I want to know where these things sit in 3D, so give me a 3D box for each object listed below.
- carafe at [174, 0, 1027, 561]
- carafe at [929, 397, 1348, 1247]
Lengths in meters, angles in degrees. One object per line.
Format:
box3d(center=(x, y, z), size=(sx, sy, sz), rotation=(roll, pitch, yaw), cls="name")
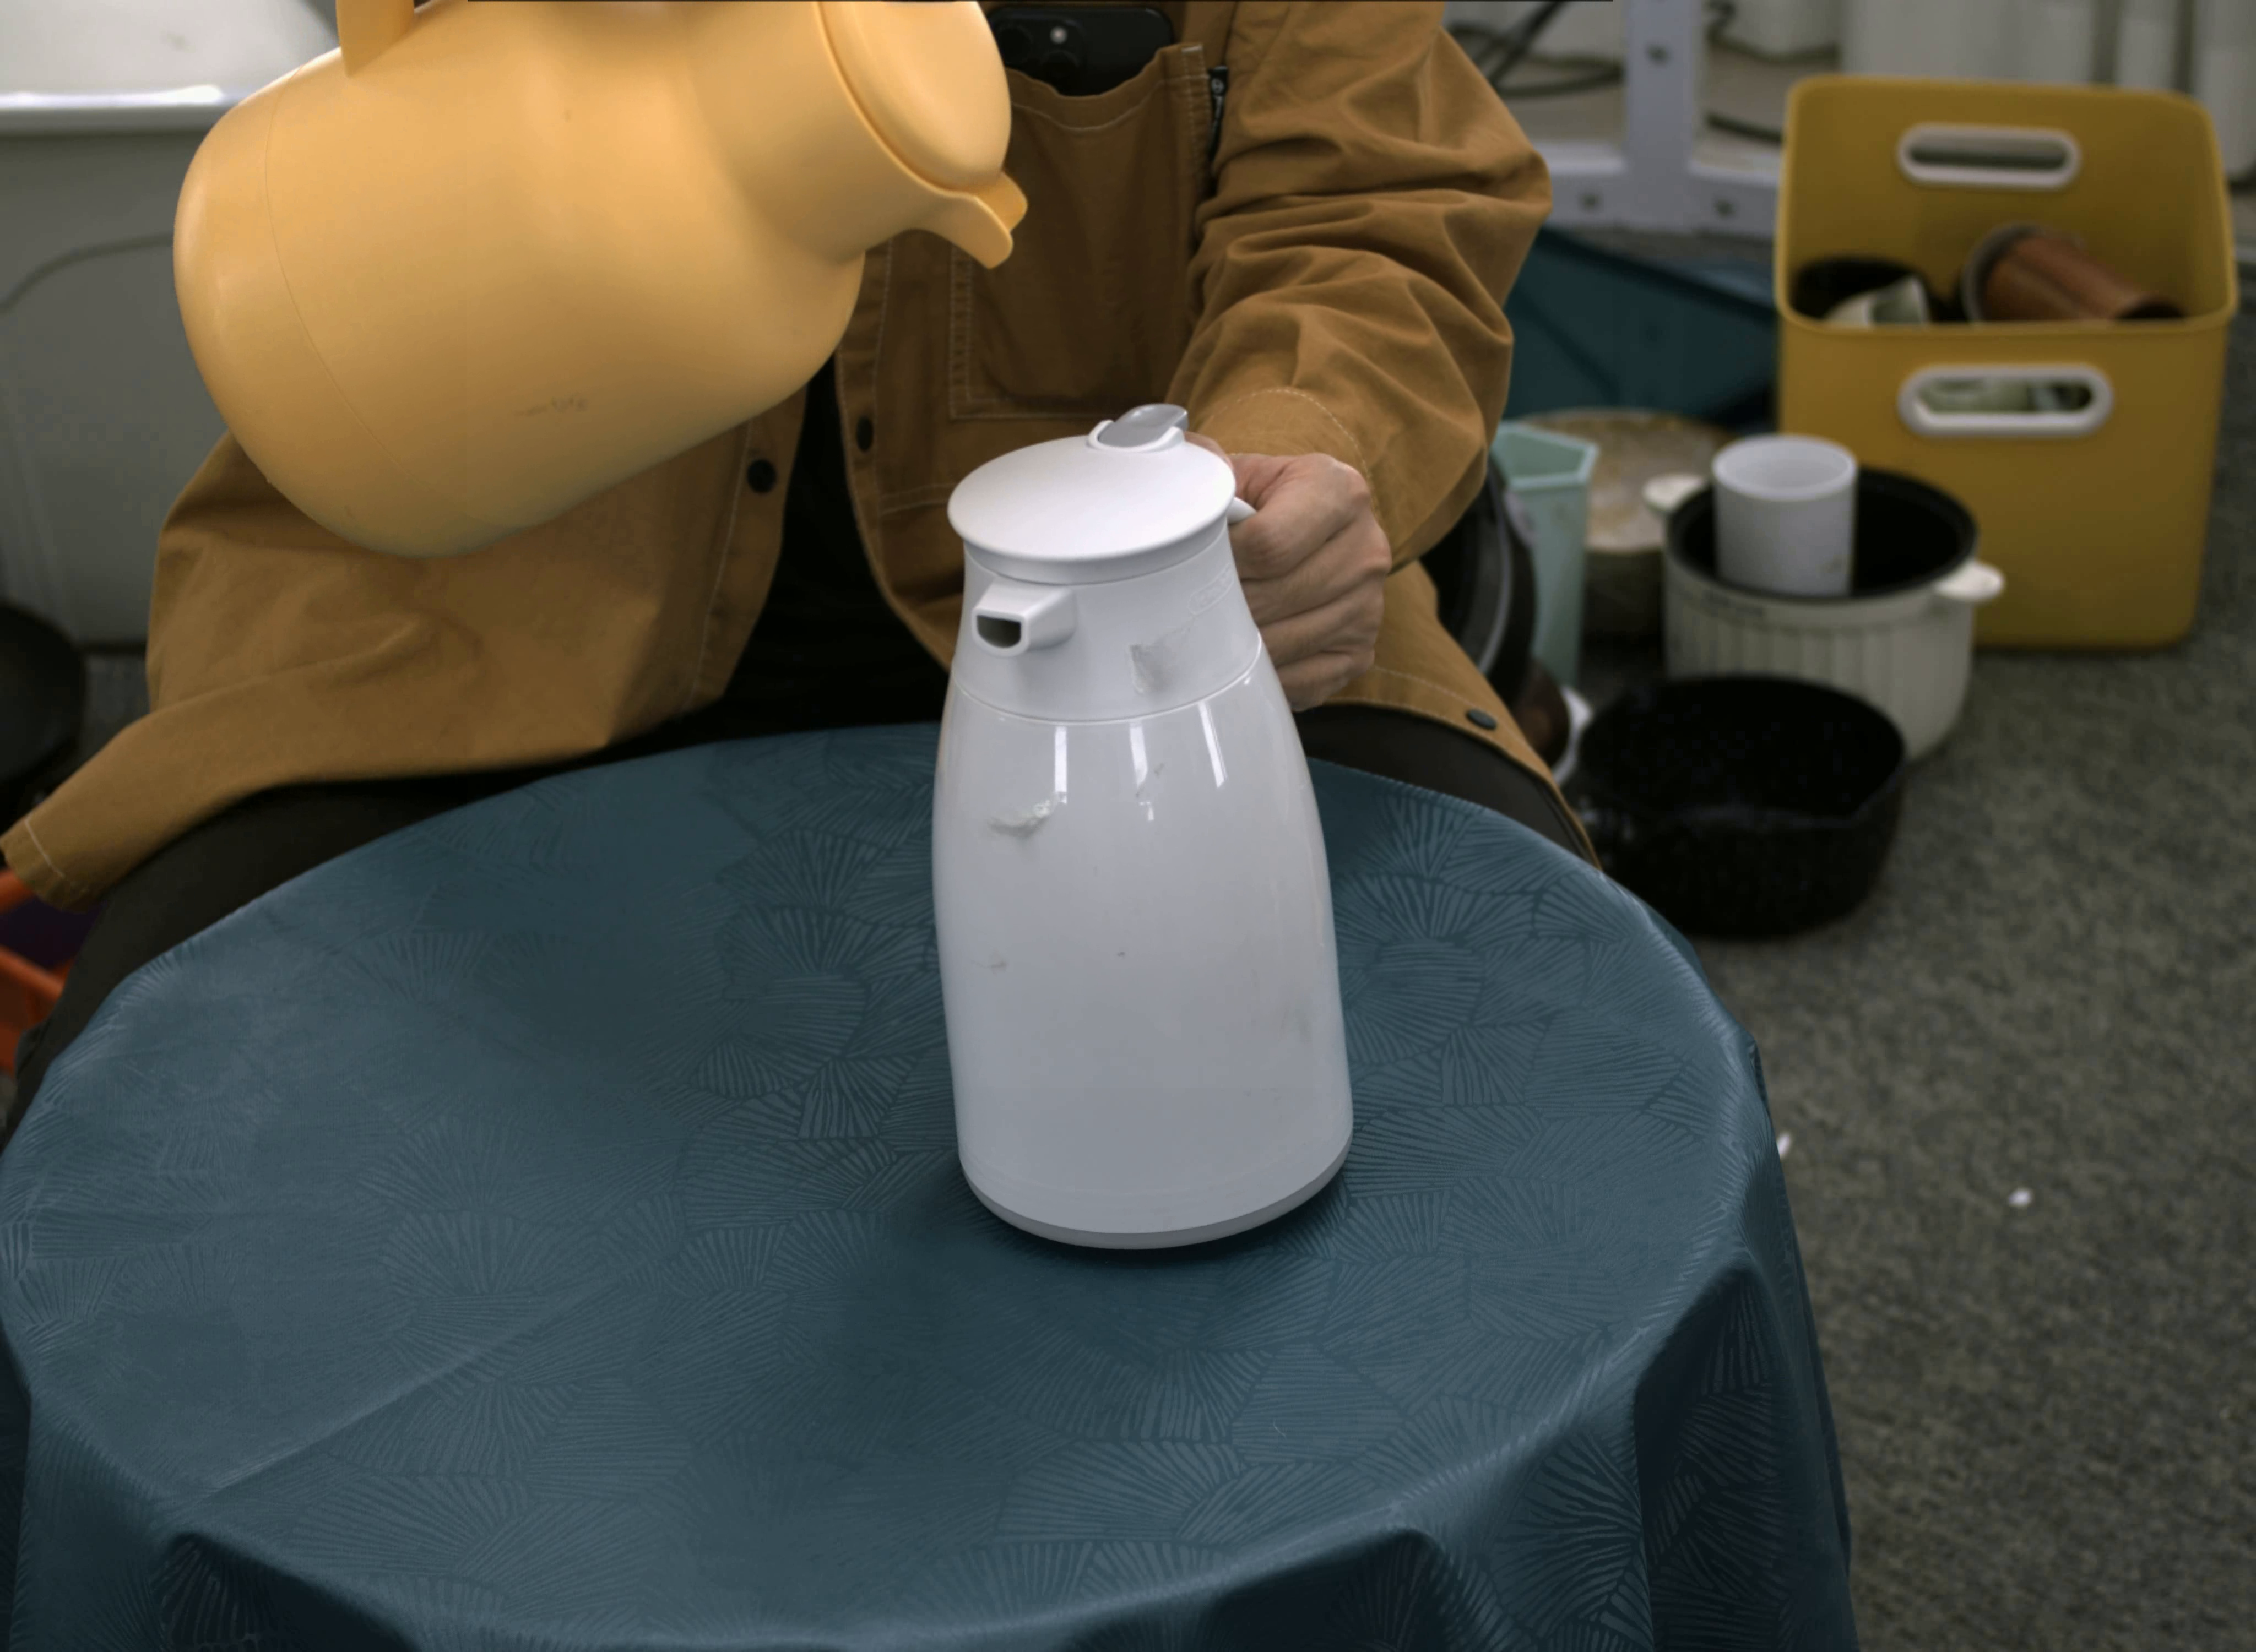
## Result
box3d(center=(-0.172, -0.211, 1.760), size=(0.257, 0.201, 0.166), rotation=(-24, 25, 24), cls="carafe")
box3d(center=(0.006, -0.012, 1.832), size=(0.131, 0.246, 0.170), rotation=(8, 28, 27), cls="carafe")
